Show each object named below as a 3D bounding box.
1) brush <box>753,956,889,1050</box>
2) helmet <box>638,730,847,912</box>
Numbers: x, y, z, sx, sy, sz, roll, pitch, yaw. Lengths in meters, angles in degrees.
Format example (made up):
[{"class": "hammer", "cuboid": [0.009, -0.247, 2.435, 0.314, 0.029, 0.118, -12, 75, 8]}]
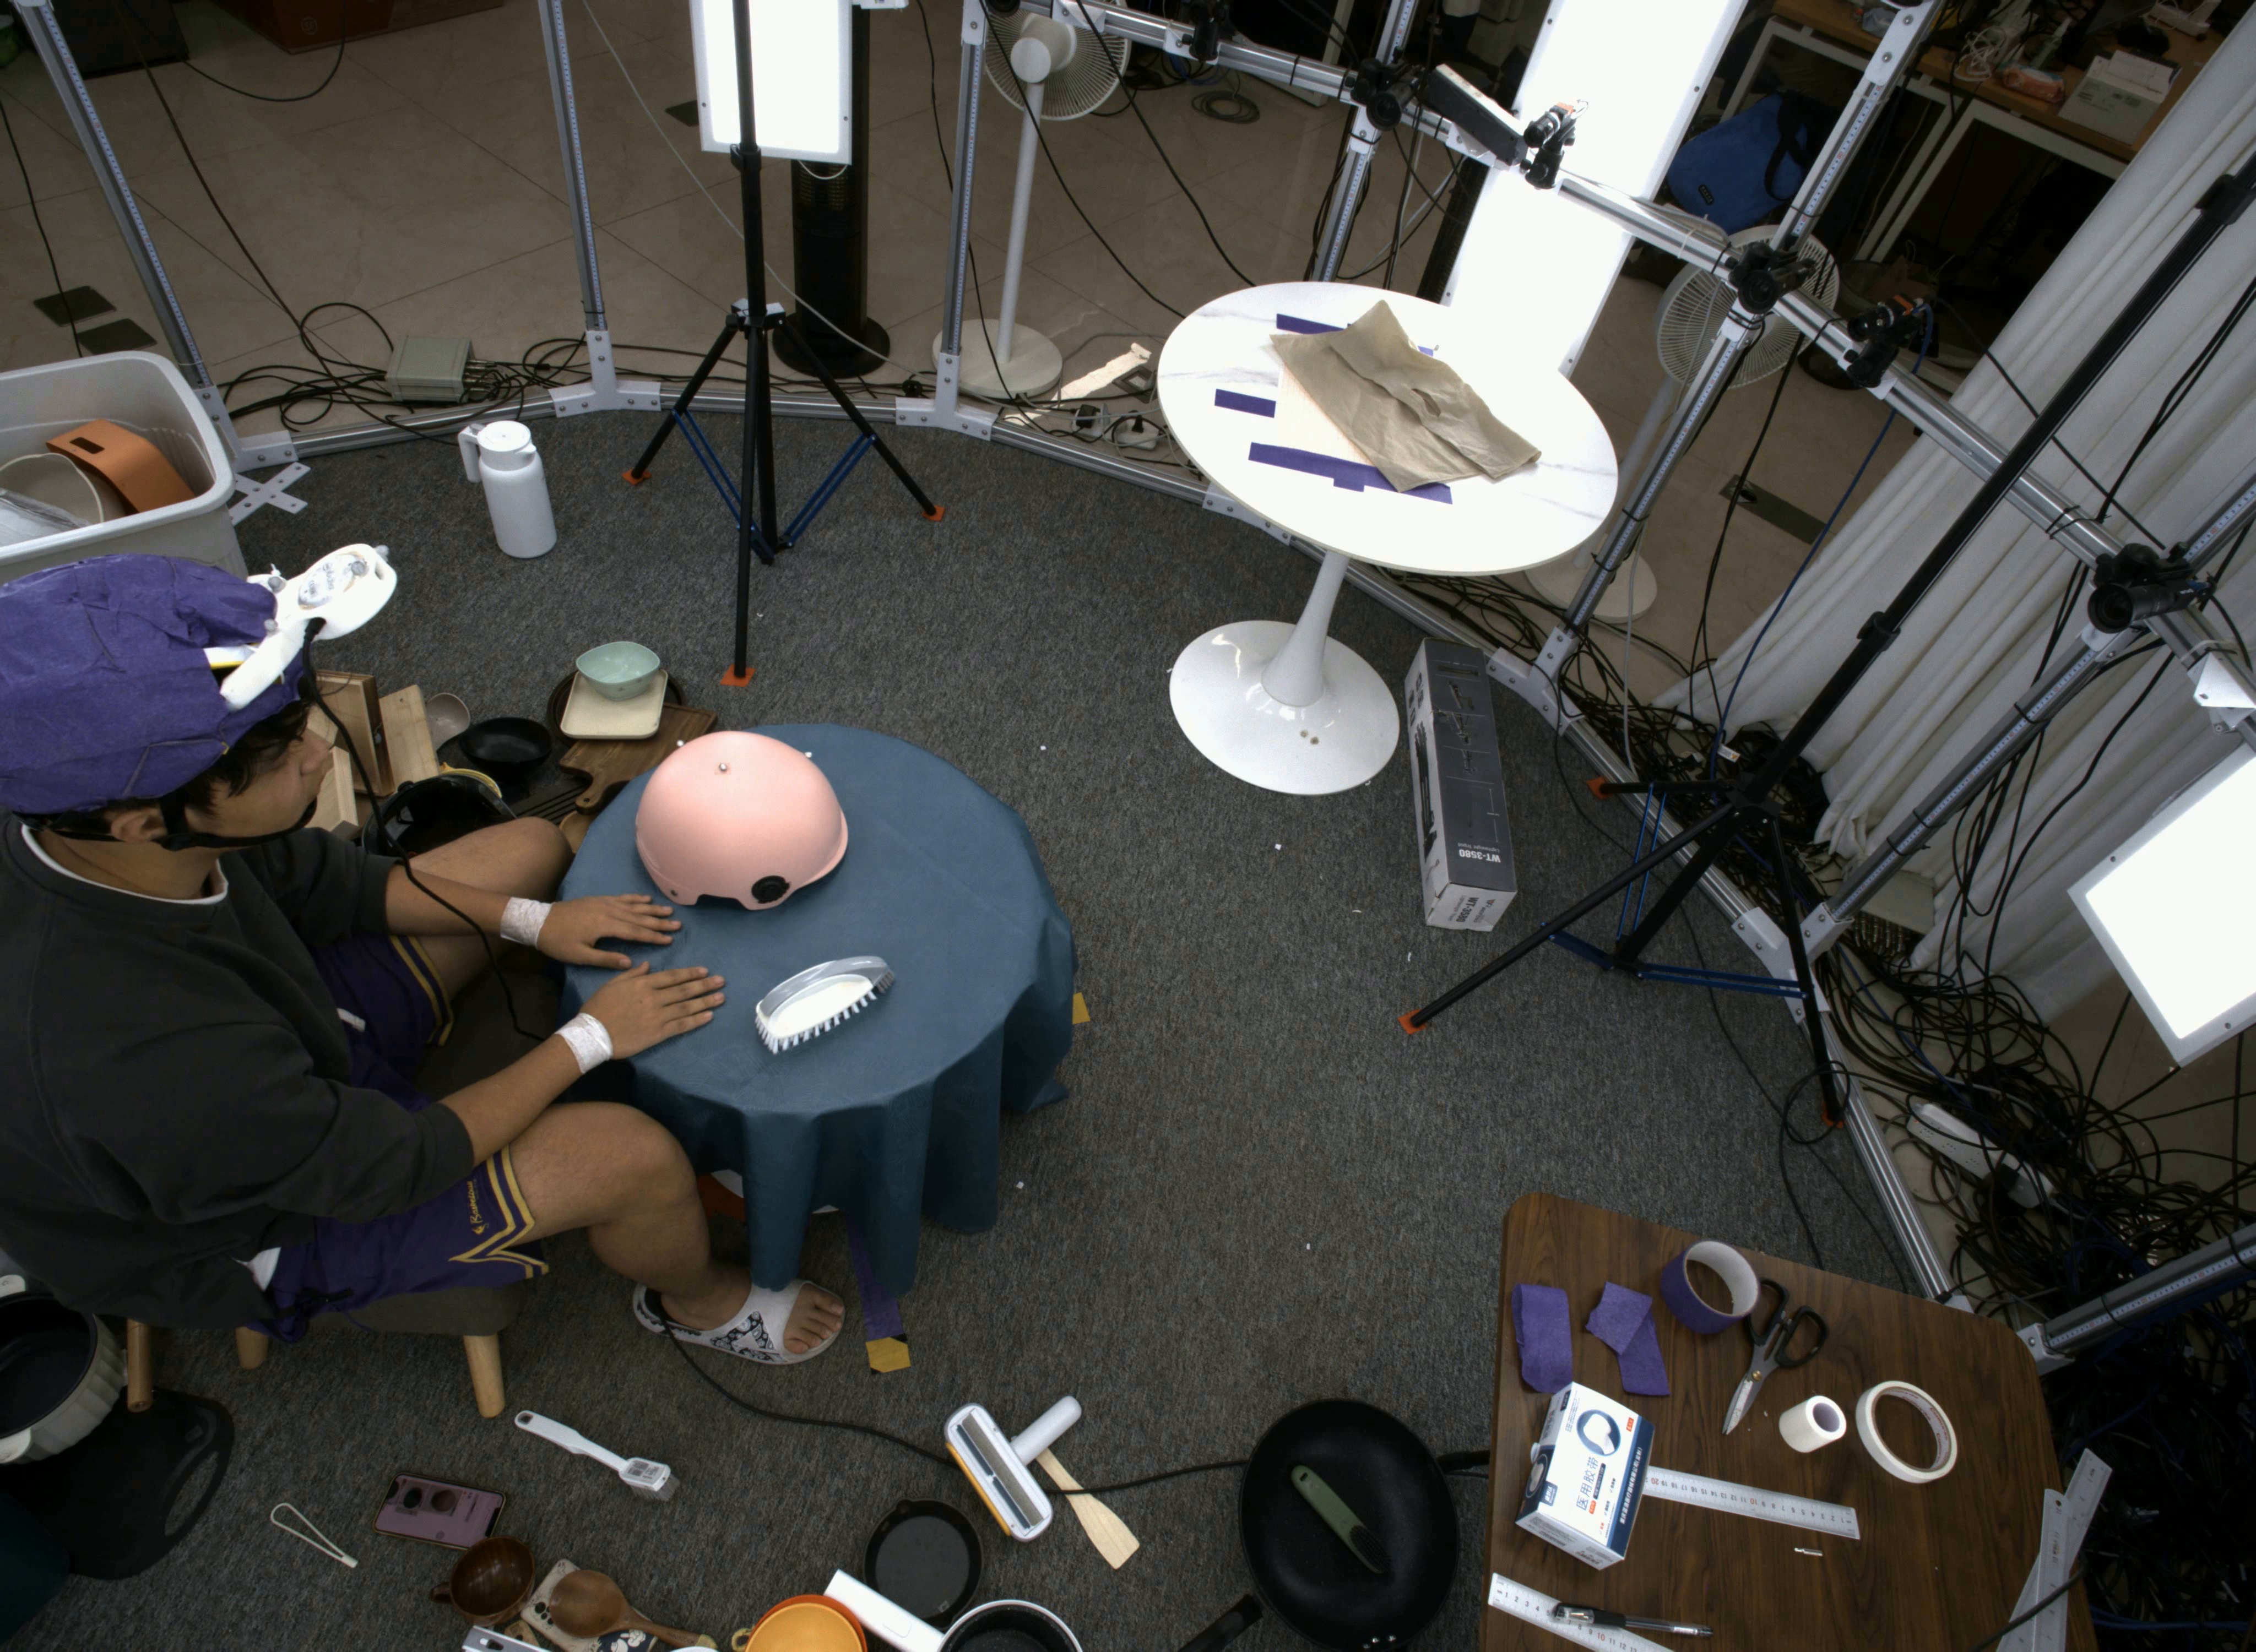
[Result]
[{"class": "brush", "cuboid": [-0.360, 0.190, 1.545, 0.176, 0.096, 0.060, -23, 62, -30]}, {"class": "helmet", "cuboid": [-0.486, -0.028, 1.636, 0.267, 0.162, 0.228, -3, 53, -20]}]
